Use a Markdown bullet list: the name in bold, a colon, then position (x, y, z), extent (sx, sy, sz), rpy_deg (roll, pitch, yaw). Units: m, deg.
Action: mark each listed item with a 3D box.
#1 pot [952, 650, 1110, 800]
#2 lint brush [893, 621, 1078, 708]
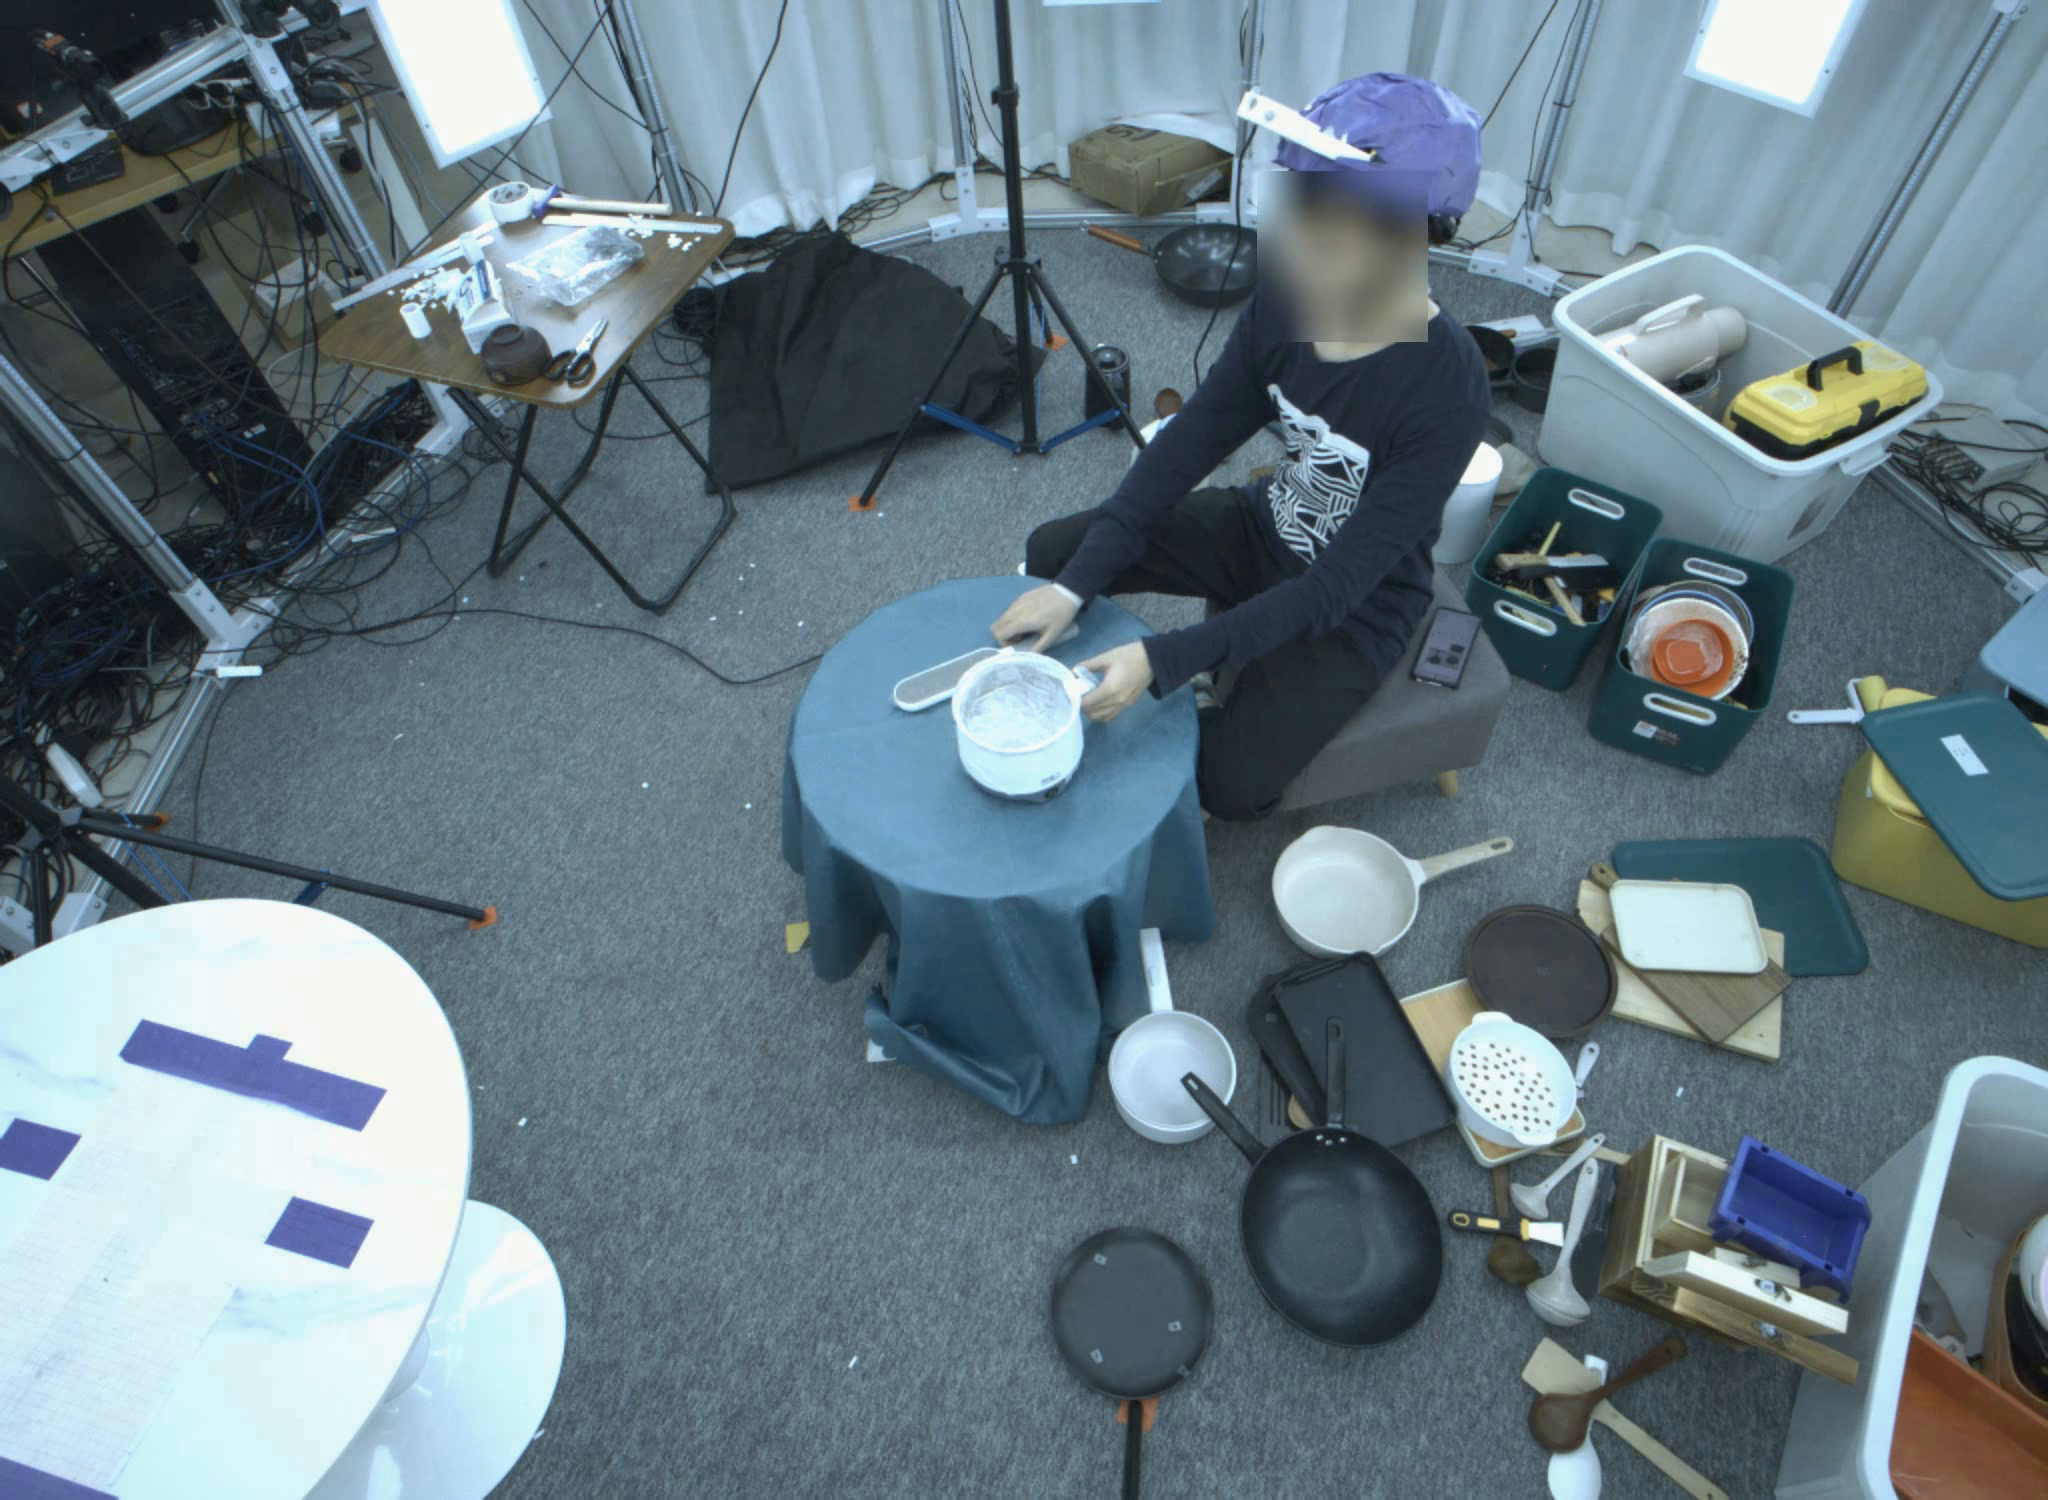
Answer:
- **pot**: position (0.017, -0.044, 1.738), extent (0.235, 0.138, 0.175), rpy_deg (-27, 60, -16)
- **lint brush**: position (-0.056, -0.134, 1.875), extent (0.311, 0.021, 0.059), rpy_deg (-23, 51, -14)
